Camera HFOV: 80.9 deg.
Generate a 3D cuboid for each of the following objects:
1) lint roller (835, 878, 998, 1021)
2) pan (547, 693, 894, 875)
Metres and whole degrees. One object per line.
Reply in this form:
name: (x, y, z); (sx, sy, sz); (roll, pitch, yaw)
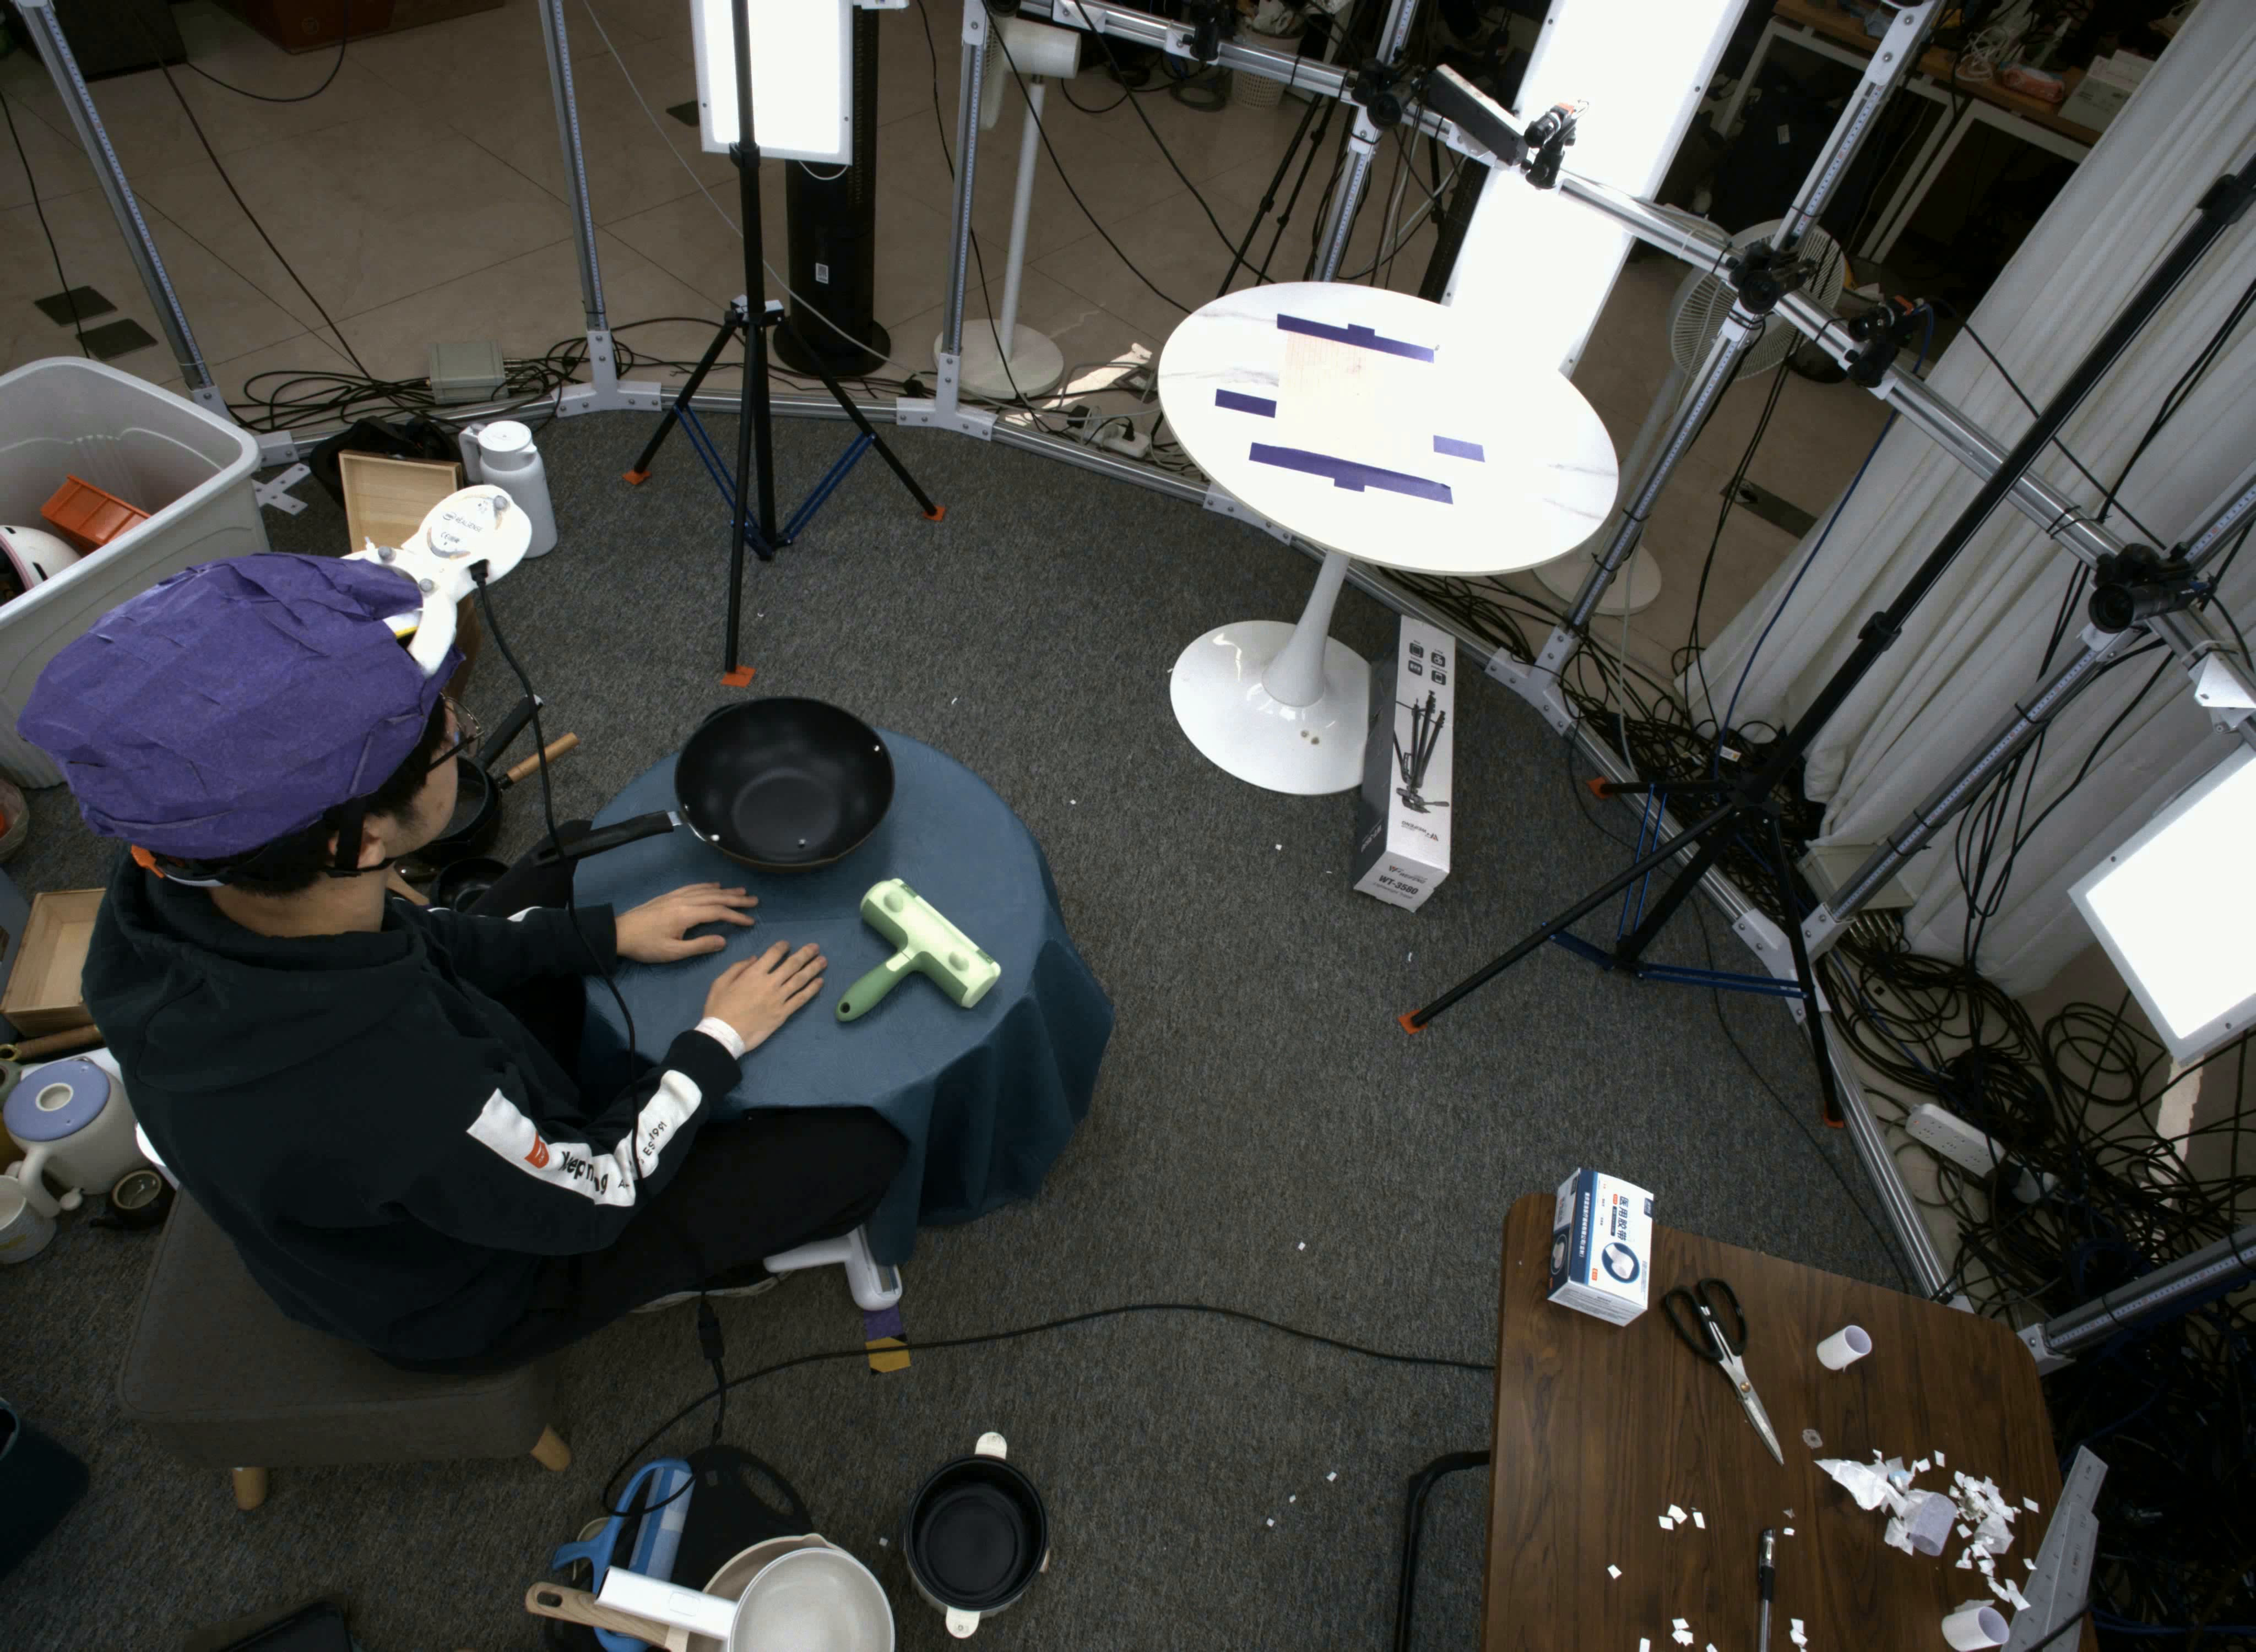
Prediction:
lint roller: (-0.287, 0.164, 1.596); (0.194, 0.084, 0.184); (39, 49, 15)
pan: (-0.524, -0.012, 1.659); (0.465, 0.088, 0.281); (-22, 63, -26)
